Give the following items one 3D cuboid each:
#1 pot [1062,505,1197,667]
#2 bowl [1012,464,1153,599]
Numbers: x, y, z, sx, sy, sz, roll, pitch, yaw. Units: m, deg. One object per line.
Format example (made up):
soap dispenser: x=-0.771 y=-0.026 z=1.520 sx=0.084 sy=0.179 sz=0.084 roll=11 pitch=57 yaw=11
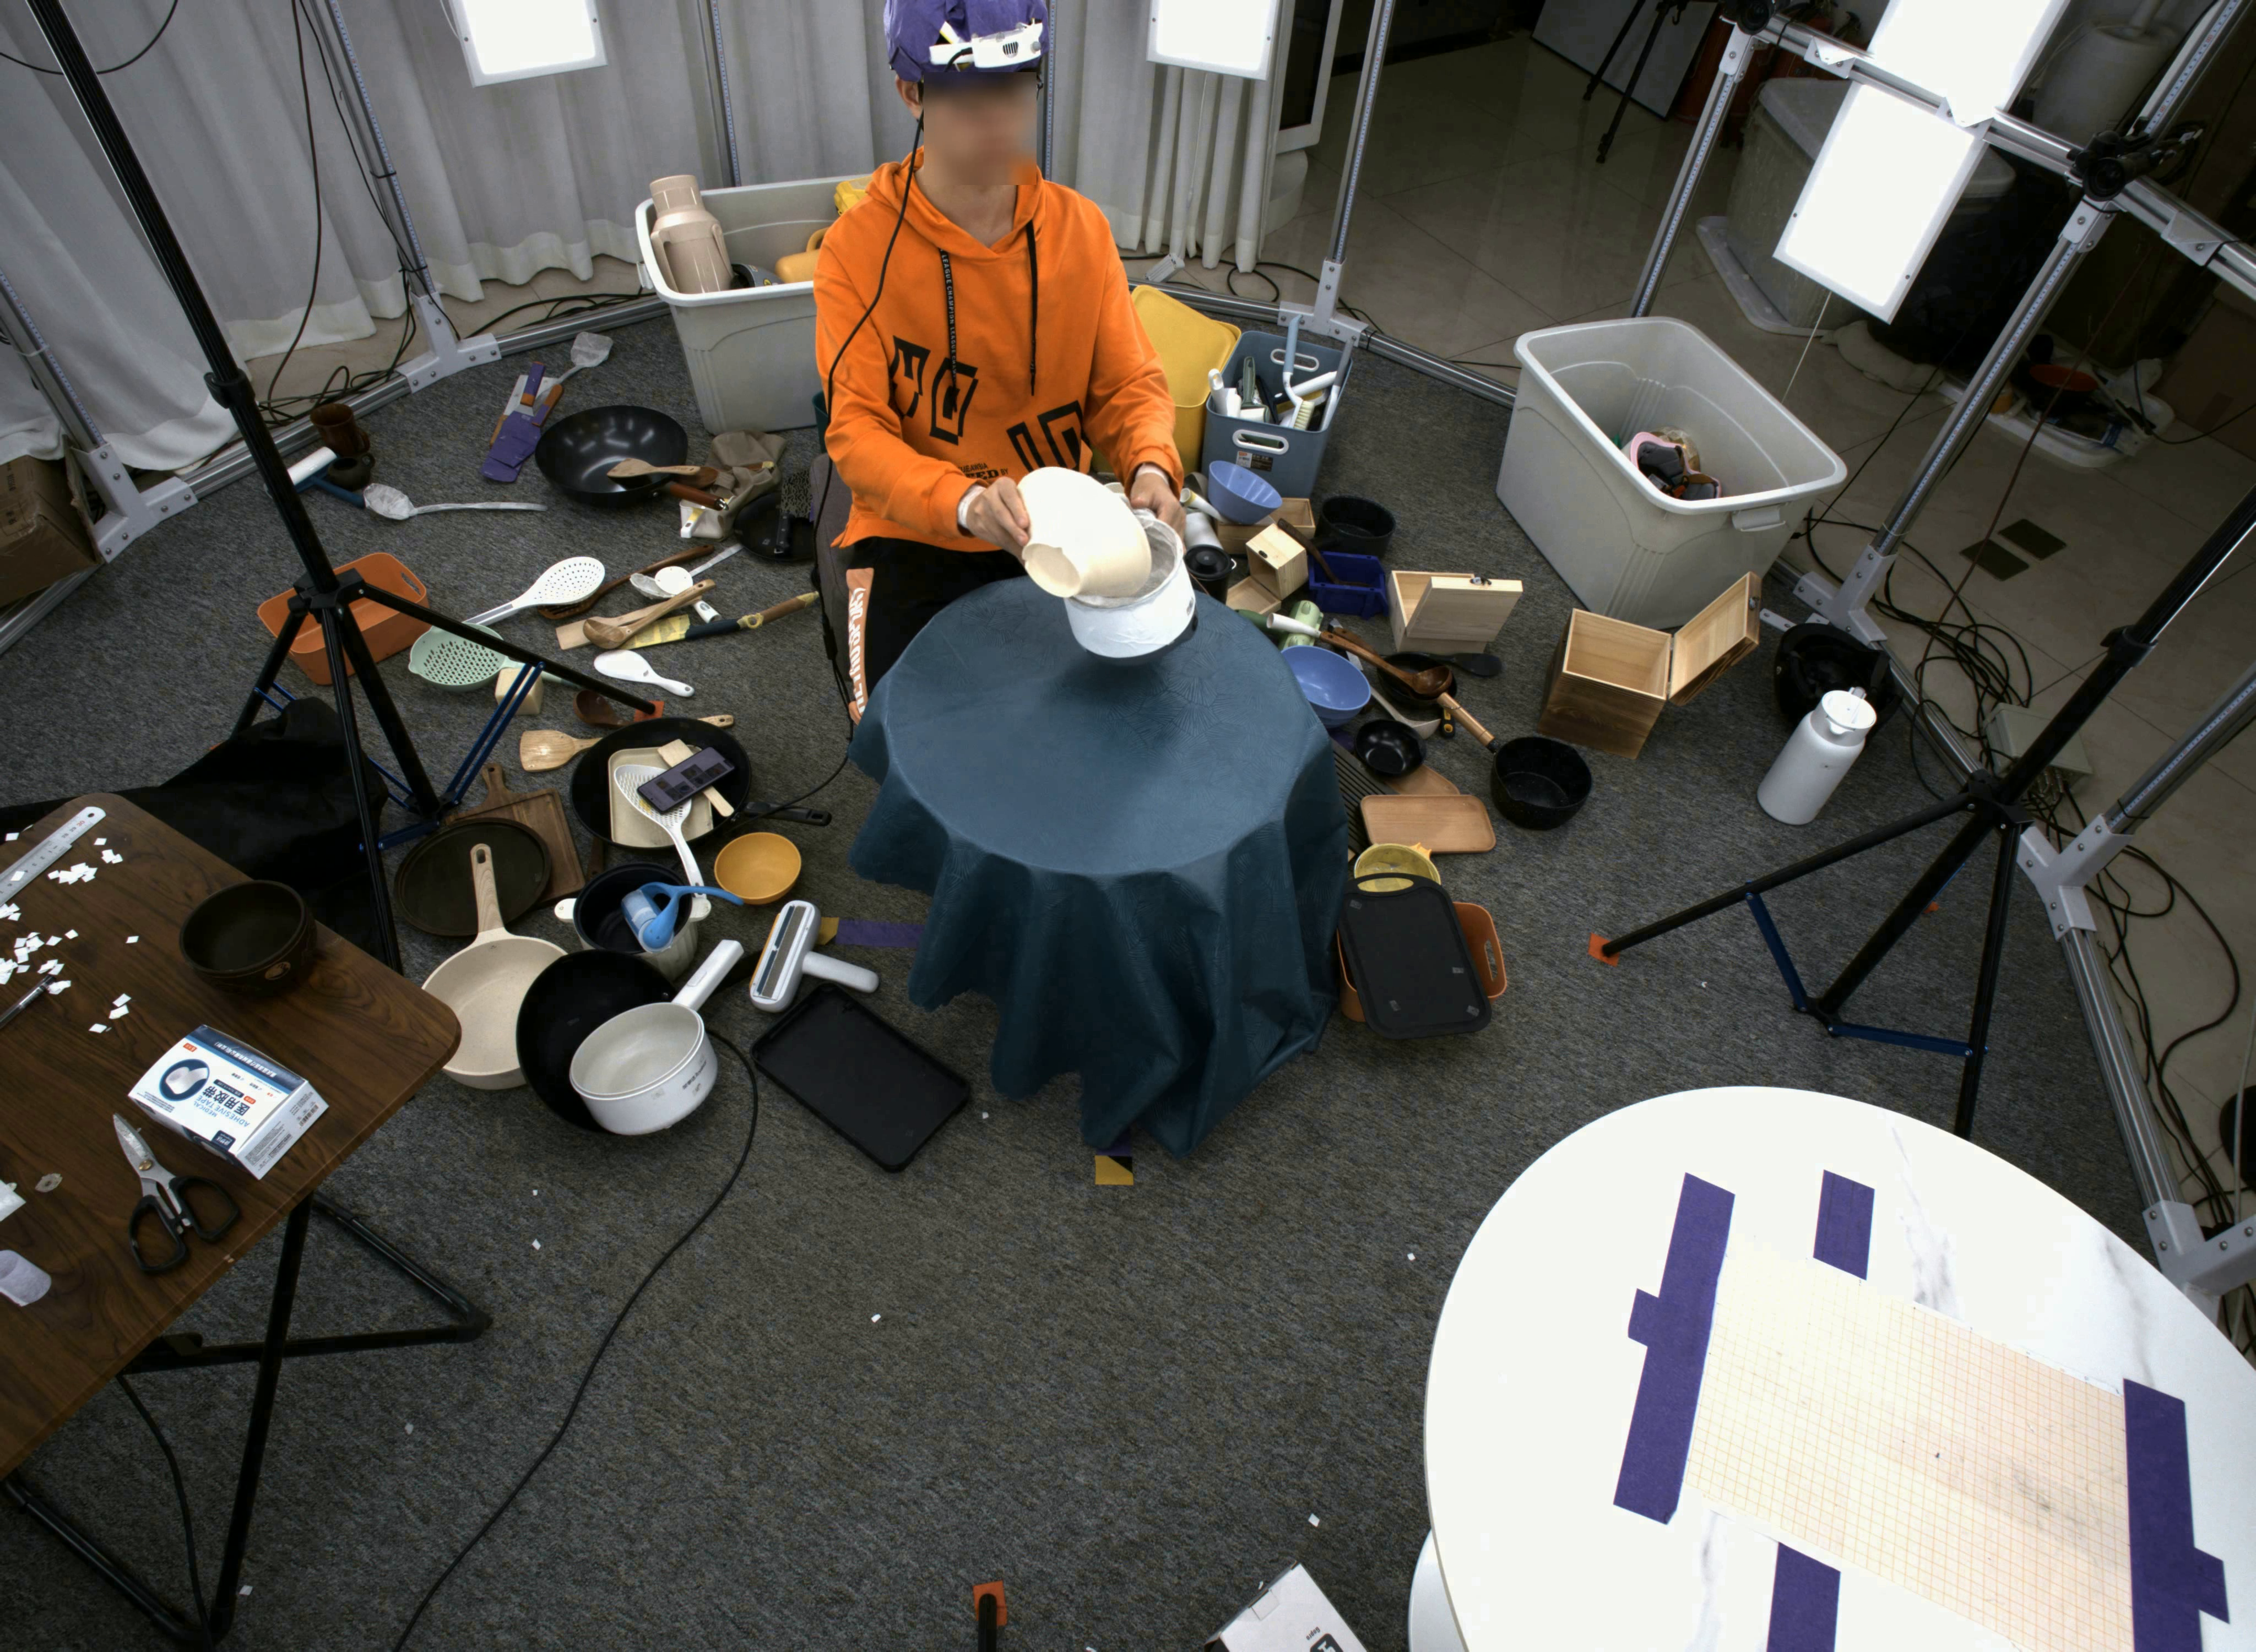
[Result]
pot: x=0.005 y=-0.341 z=1.775 sx=0.179 sy=0.133 sz=0.238 roll=5 pitch=55 yaw=18
bowl: x=-0.075 y=-0.345 z=1.615 sx=0.205 sy=0.199 sz=0.079 roll=24 pitch=57 yaw=16
